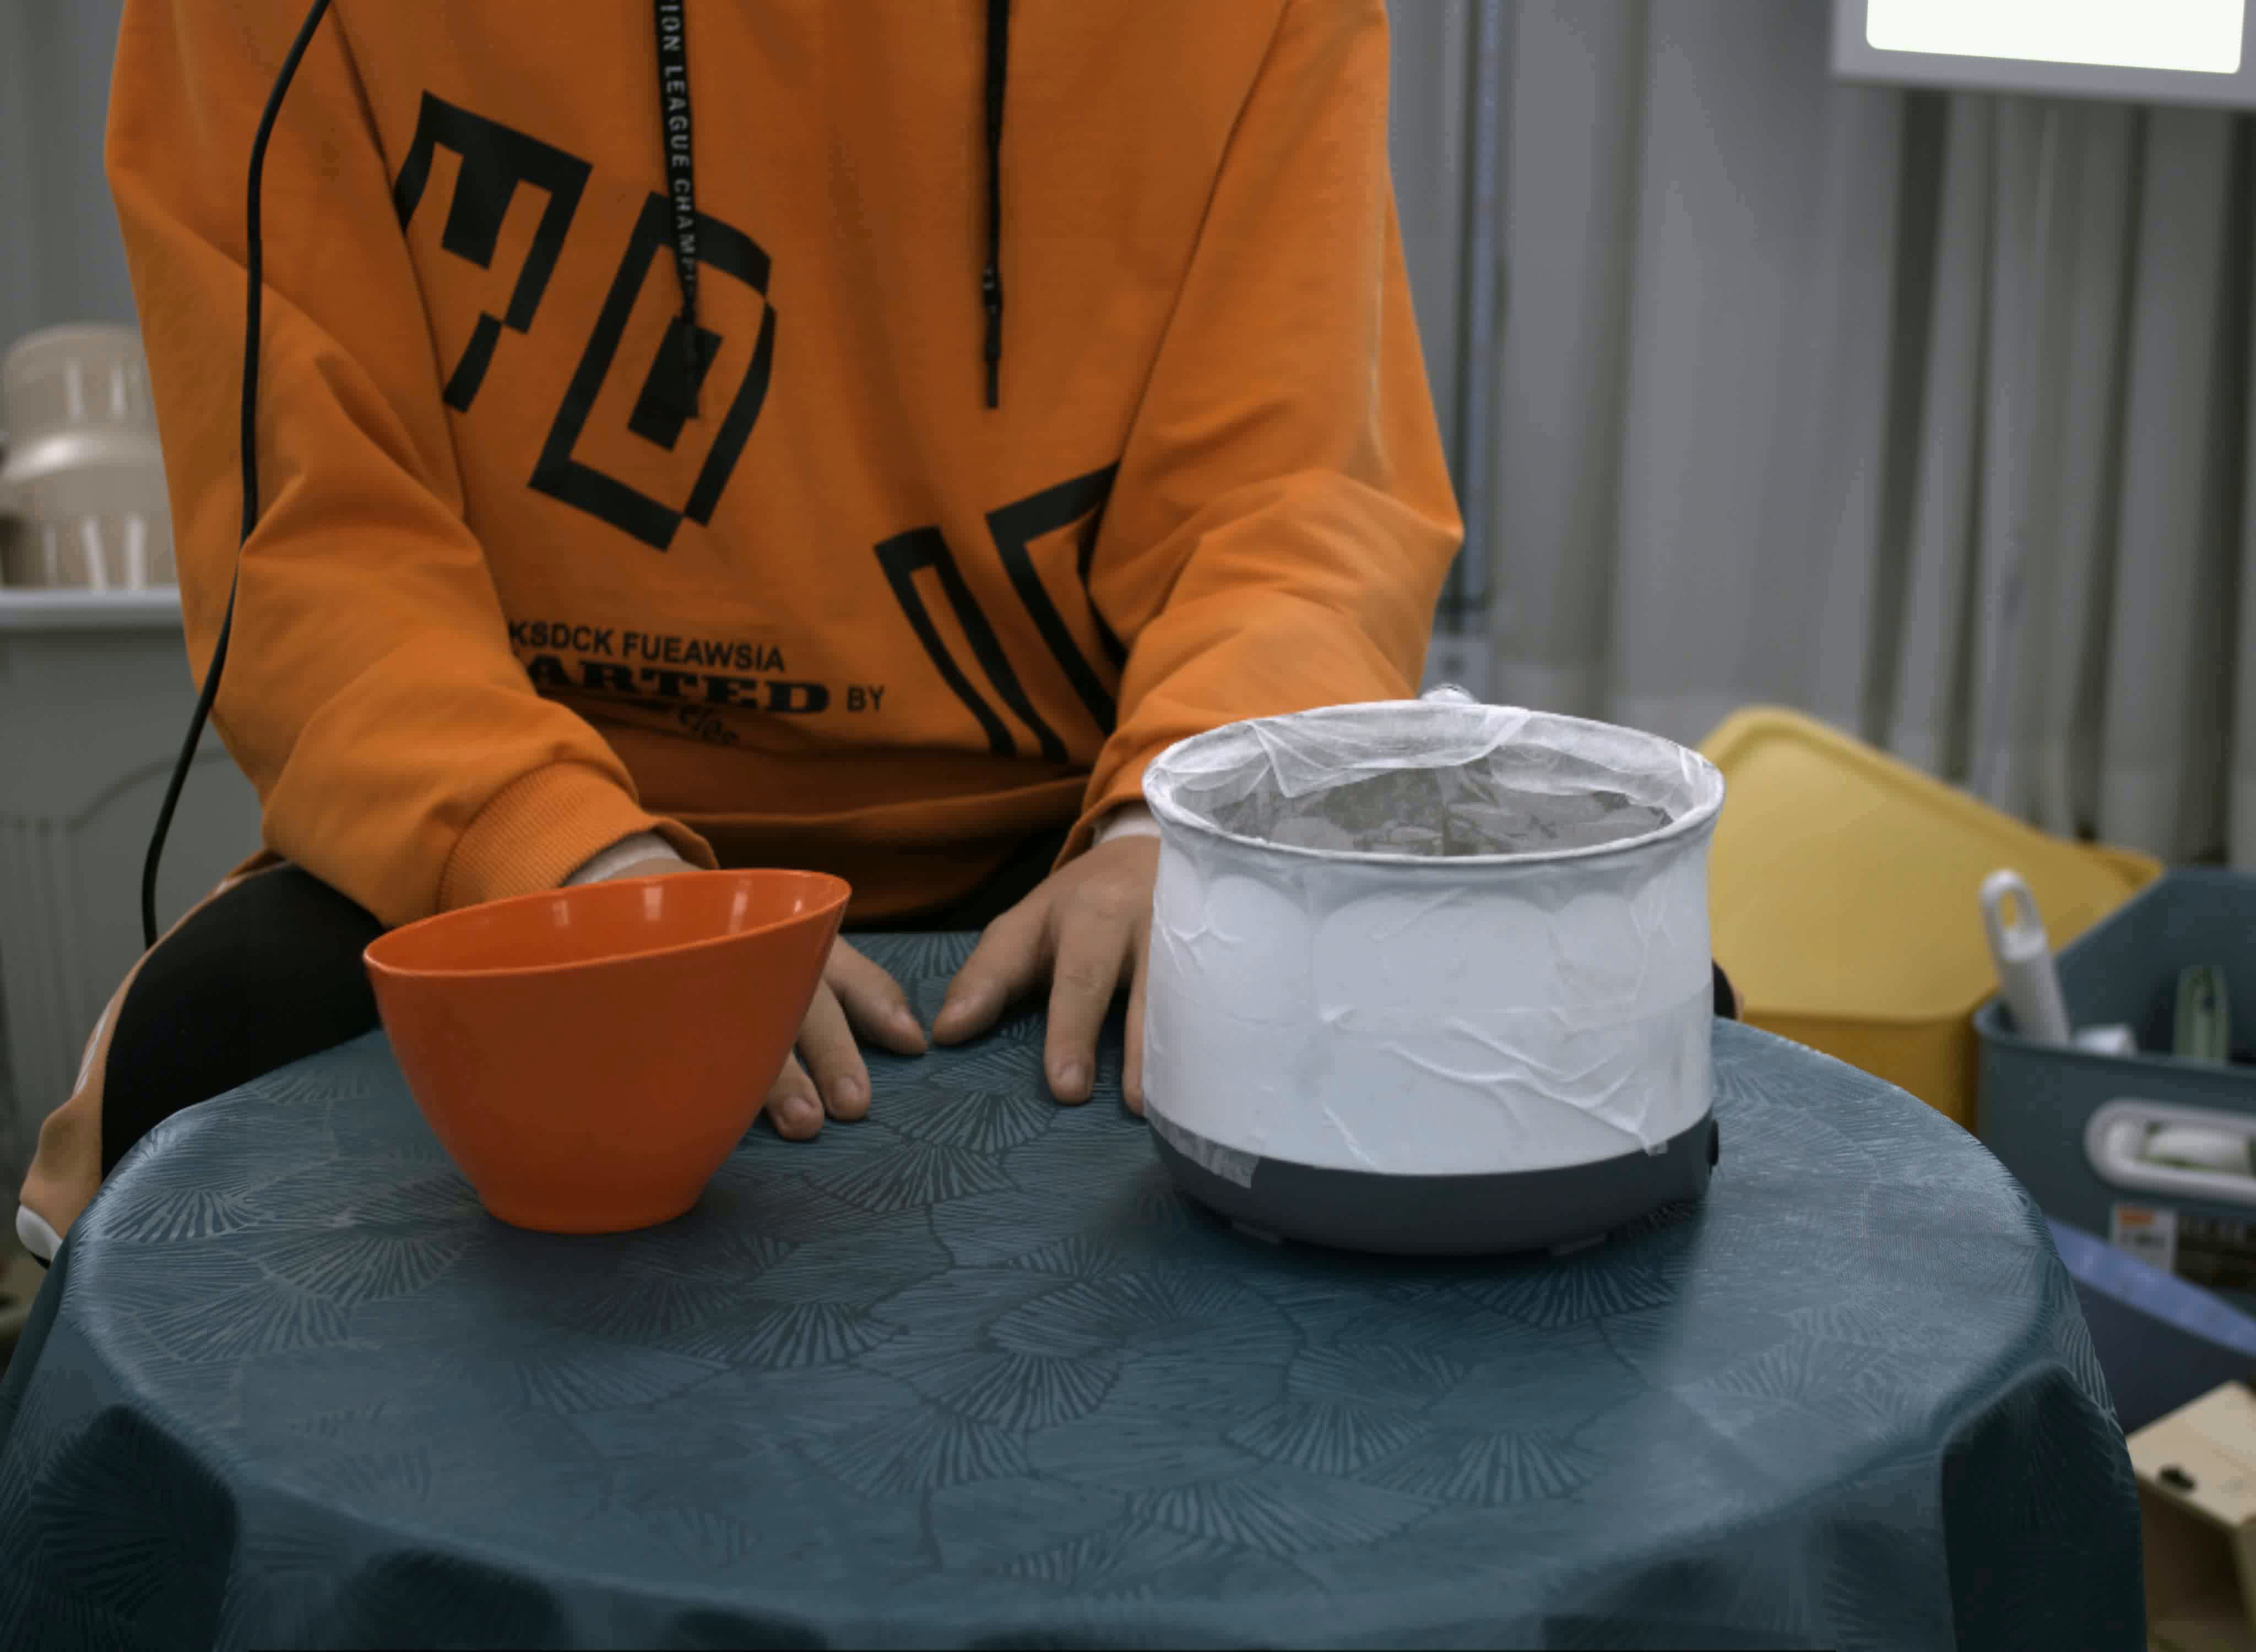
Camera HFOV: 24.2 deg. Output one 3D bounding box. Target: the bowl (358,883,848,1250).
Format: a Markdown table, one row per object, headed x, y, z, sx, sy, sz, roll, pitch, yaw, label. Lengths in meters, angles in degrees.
| x | y | z | sx | sy | sz | roll | pitch | yaw | label |
| --- | --- | --- | --- | --- | --- | --- | --- | --- | --- |
| -0.157 | 0.071 | 1.590 | 0.147 | 0.105 | 0.147 | 0 | 14 | 1 | bowl |

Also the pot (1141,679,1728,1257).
| x | y | z | sx | sy | sz | roll | pitch | yaw | label |
| --- | --- | --- | --- | --- | --- | --- | --- | --- | --- |
| 0.094 | 0.038 | 1.632 | 0.178 | 0.138 | 0.232 | 2 | 16 | 3 | pot |
